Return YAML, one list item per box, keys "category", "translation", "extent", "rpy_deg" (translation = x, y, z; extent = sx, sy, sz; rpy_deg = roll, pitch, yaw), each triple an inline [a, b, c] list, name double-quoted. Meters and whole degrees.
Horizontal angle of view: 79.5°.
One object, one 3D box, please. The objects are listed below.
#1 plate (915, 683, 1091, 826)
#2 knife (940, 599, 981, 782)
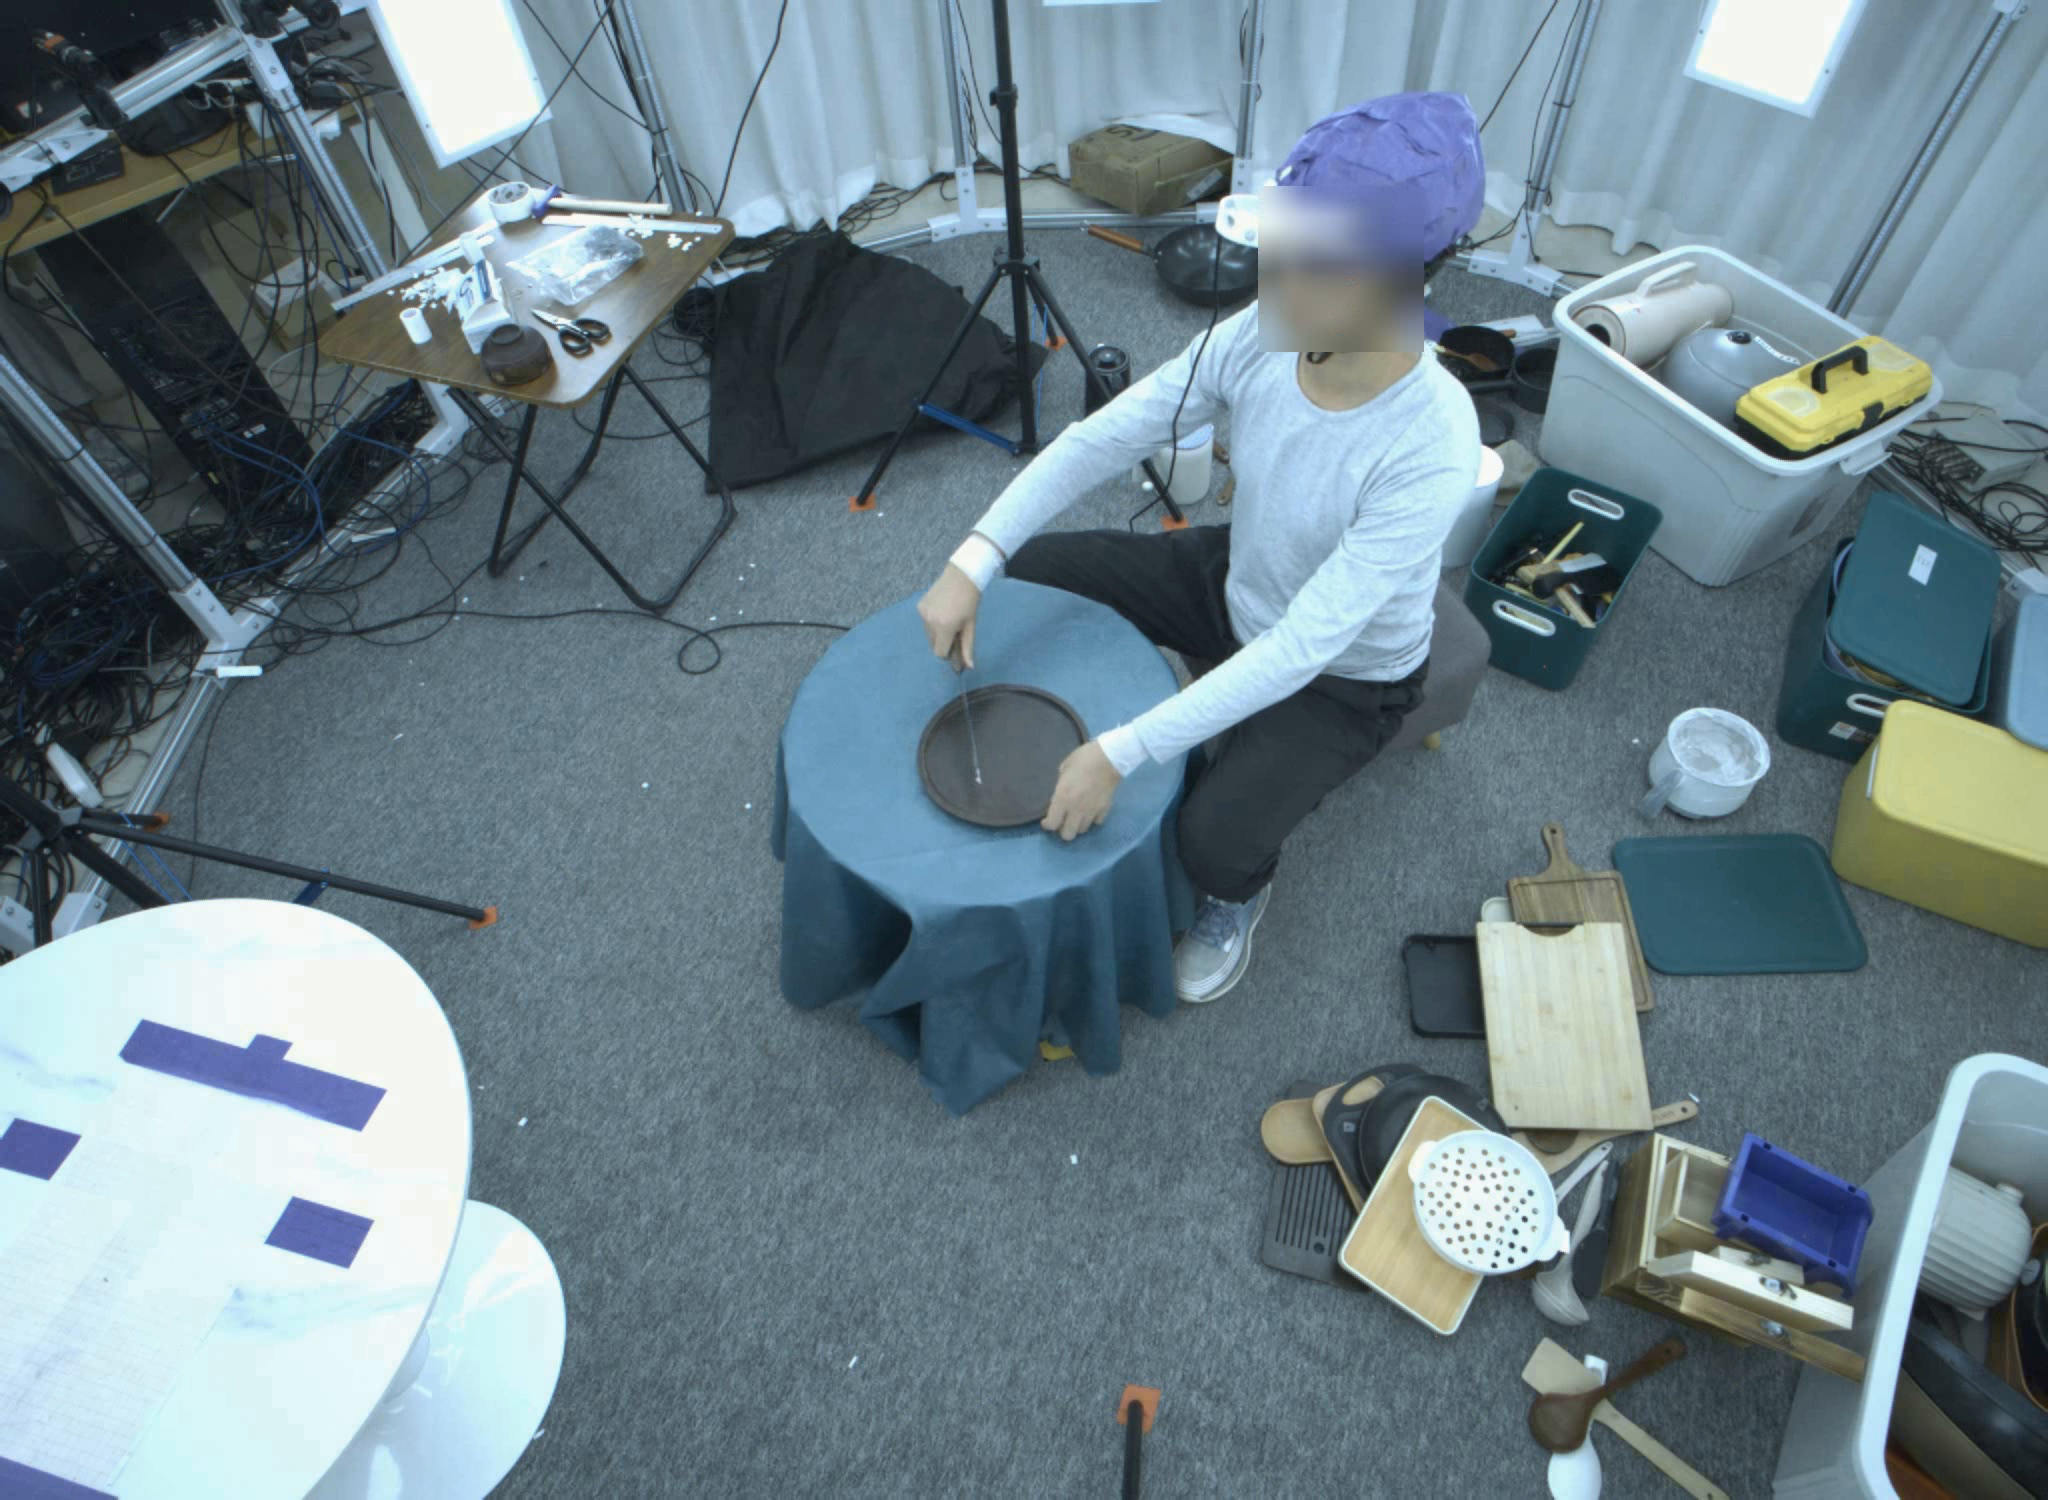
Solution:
- category: "plate"
  translation: [-0.030, 0.006, 1.777]
  extent: [0.254, 0.029, 0.252]
  rpy_deg: [0, 52, 1]
- category: "knife"
  translation: [-0.088, -0.088, 1.763]
  extent: [0.020, 0.051, 0.286]
  rpy_deg: [-13, 71, 3]
